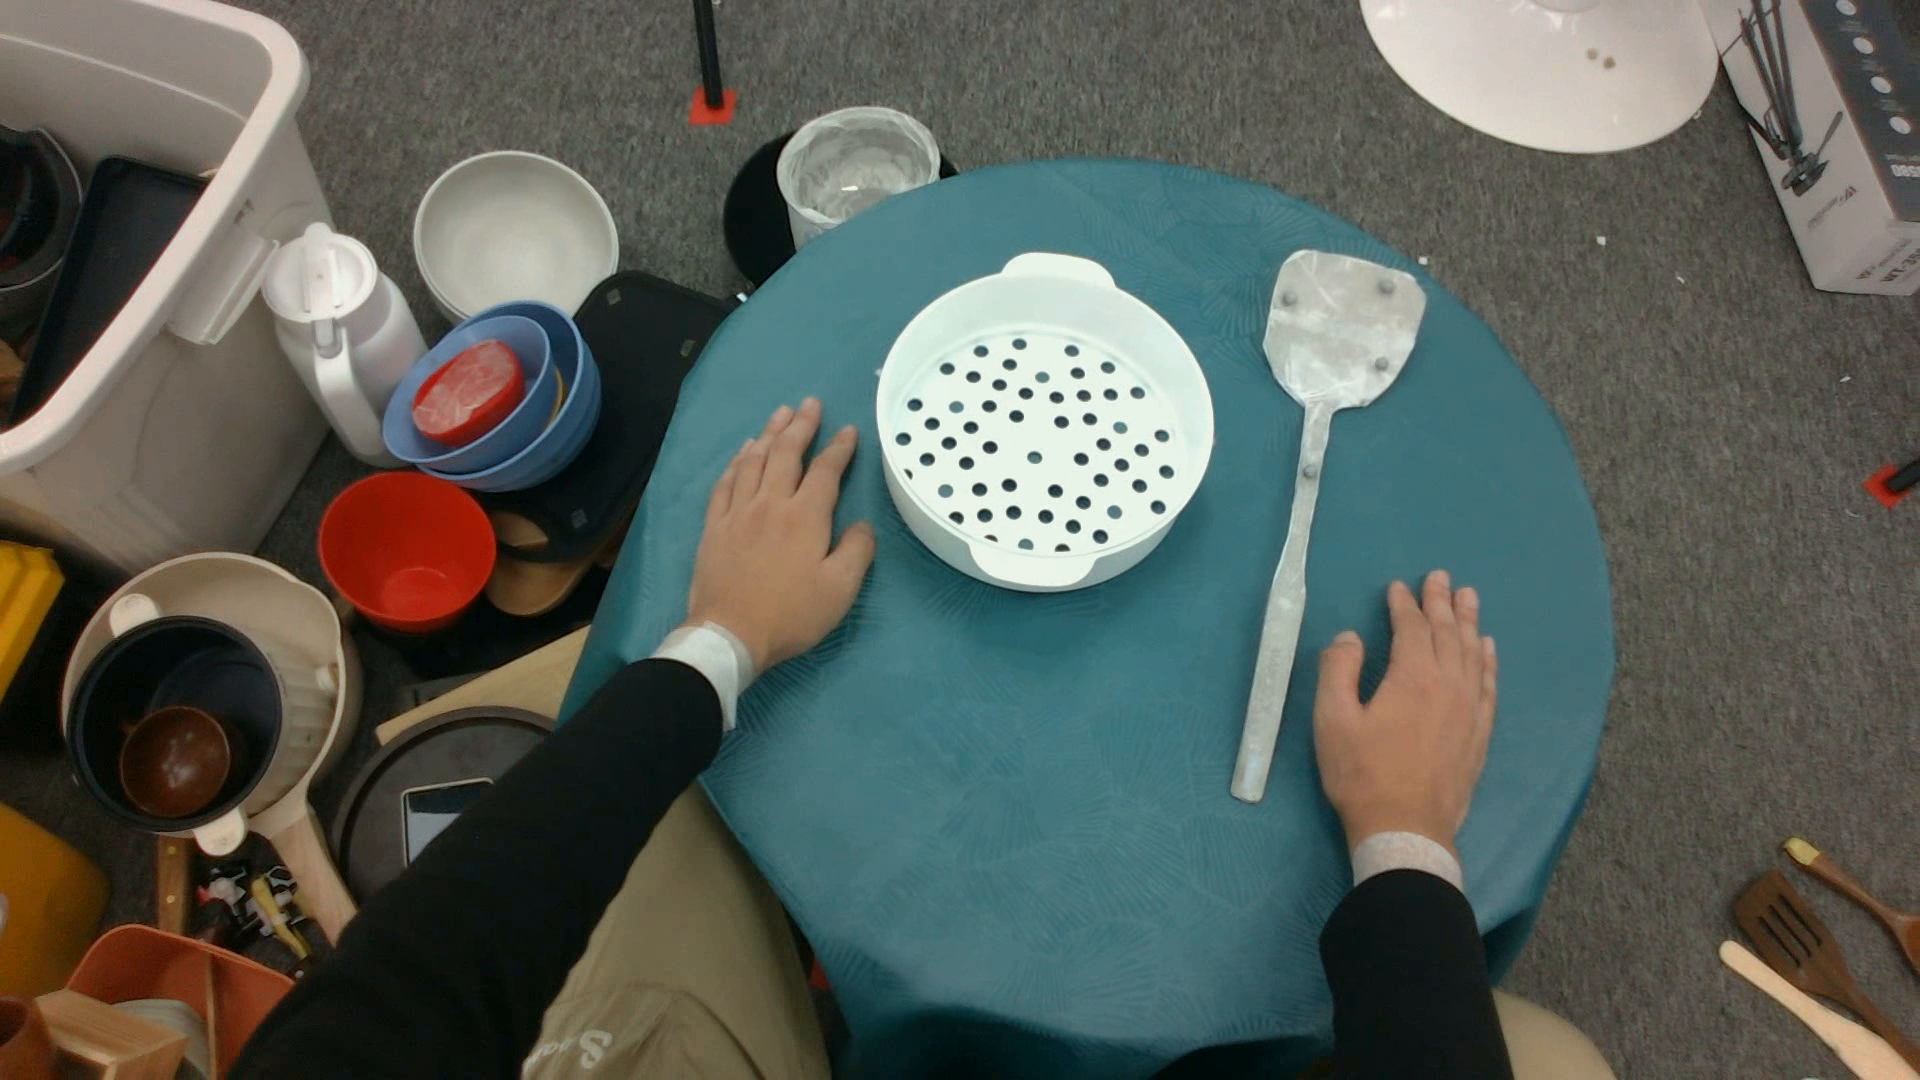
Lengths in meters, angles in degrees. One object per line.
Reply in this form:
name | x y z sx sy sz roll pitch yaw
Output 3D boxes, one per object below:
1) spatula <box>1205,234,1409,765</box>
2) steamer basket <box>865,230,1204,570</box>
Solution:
spatula | 0.203 -0.032 0.851 0.099 0.044 0.366 17 64 1
steamer basket | 0.043 -0.079 0.841 0.202 0.069 0.231 8 65 -1
